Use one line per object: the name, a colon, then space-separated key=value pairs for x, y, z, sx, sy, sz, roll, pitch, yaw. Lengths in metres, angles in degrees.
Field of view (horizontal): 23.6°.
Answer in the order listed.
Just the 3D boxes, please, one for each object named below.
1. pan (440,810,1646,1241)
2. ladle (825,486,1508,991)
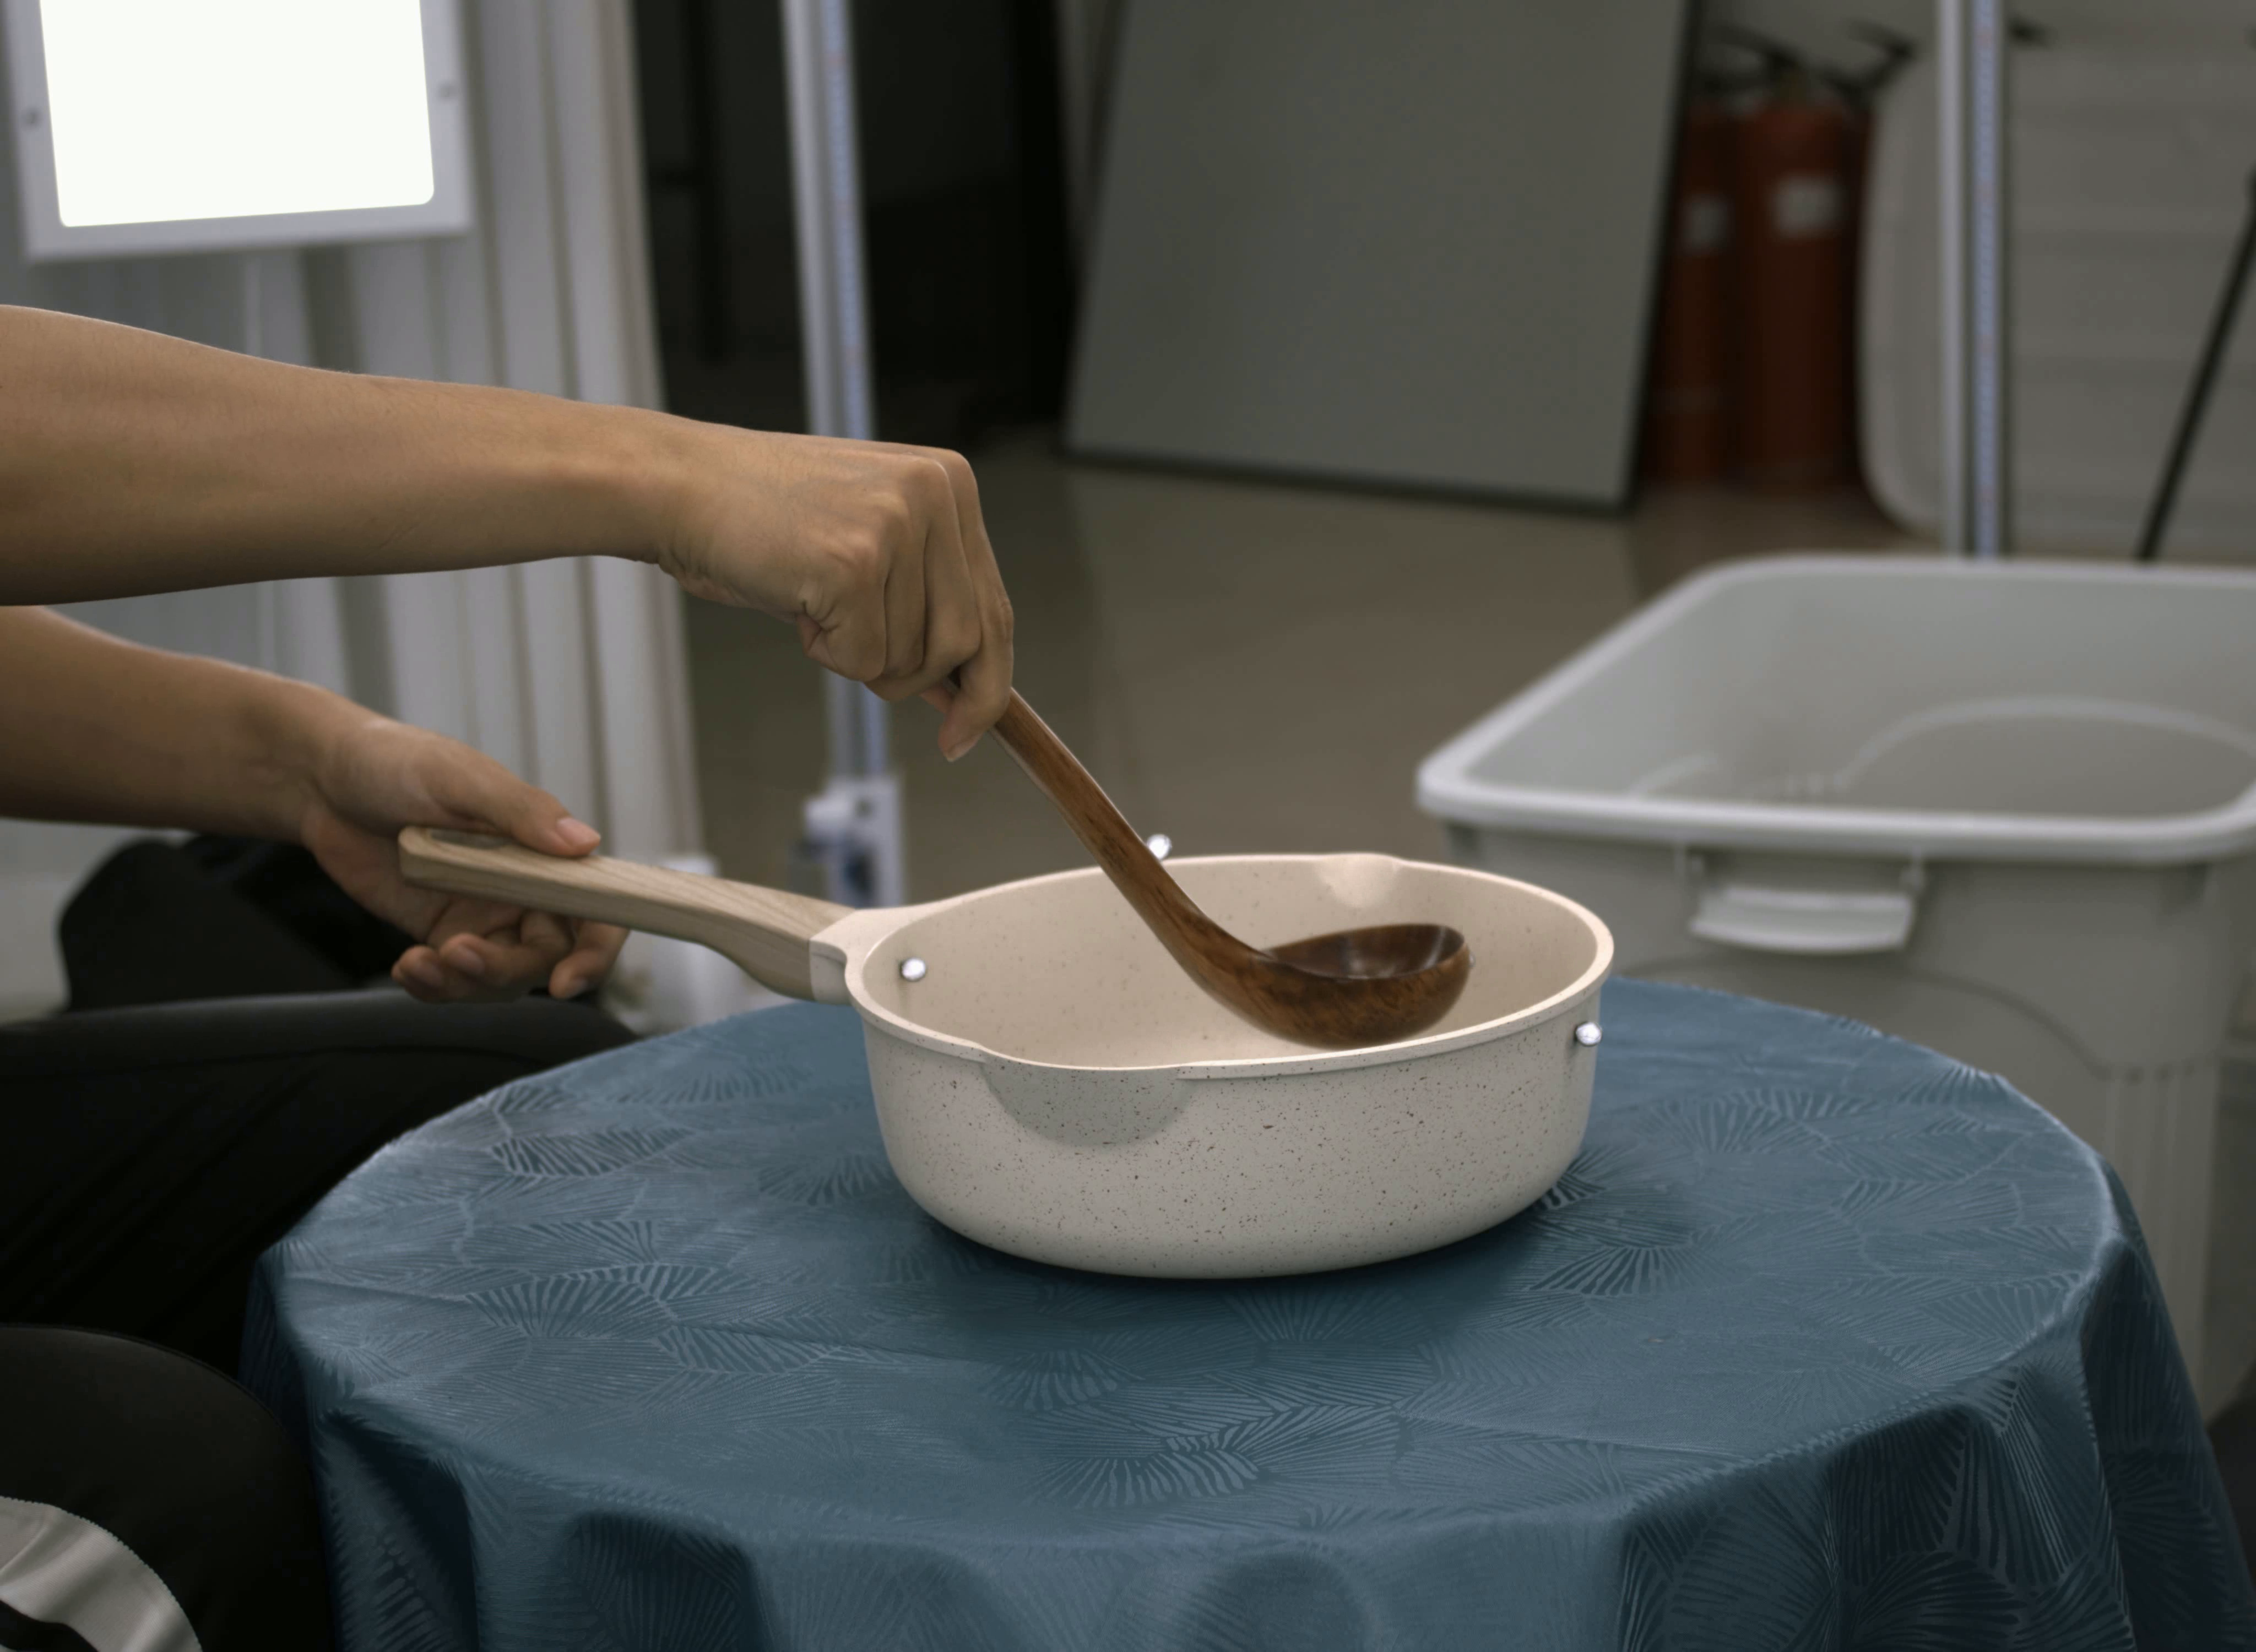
pan: x=-0.036 y=0.057 z=1.813 sx=0.435 sy=0.103 sz=0.260 roll=2 pitch=16 yaw=25
ladle: x=0.018 y=-0.034 z=1.733 sx=0.076 sy=0.272 sz=0.083 roll=-51 pitch=22 yaw=-19
